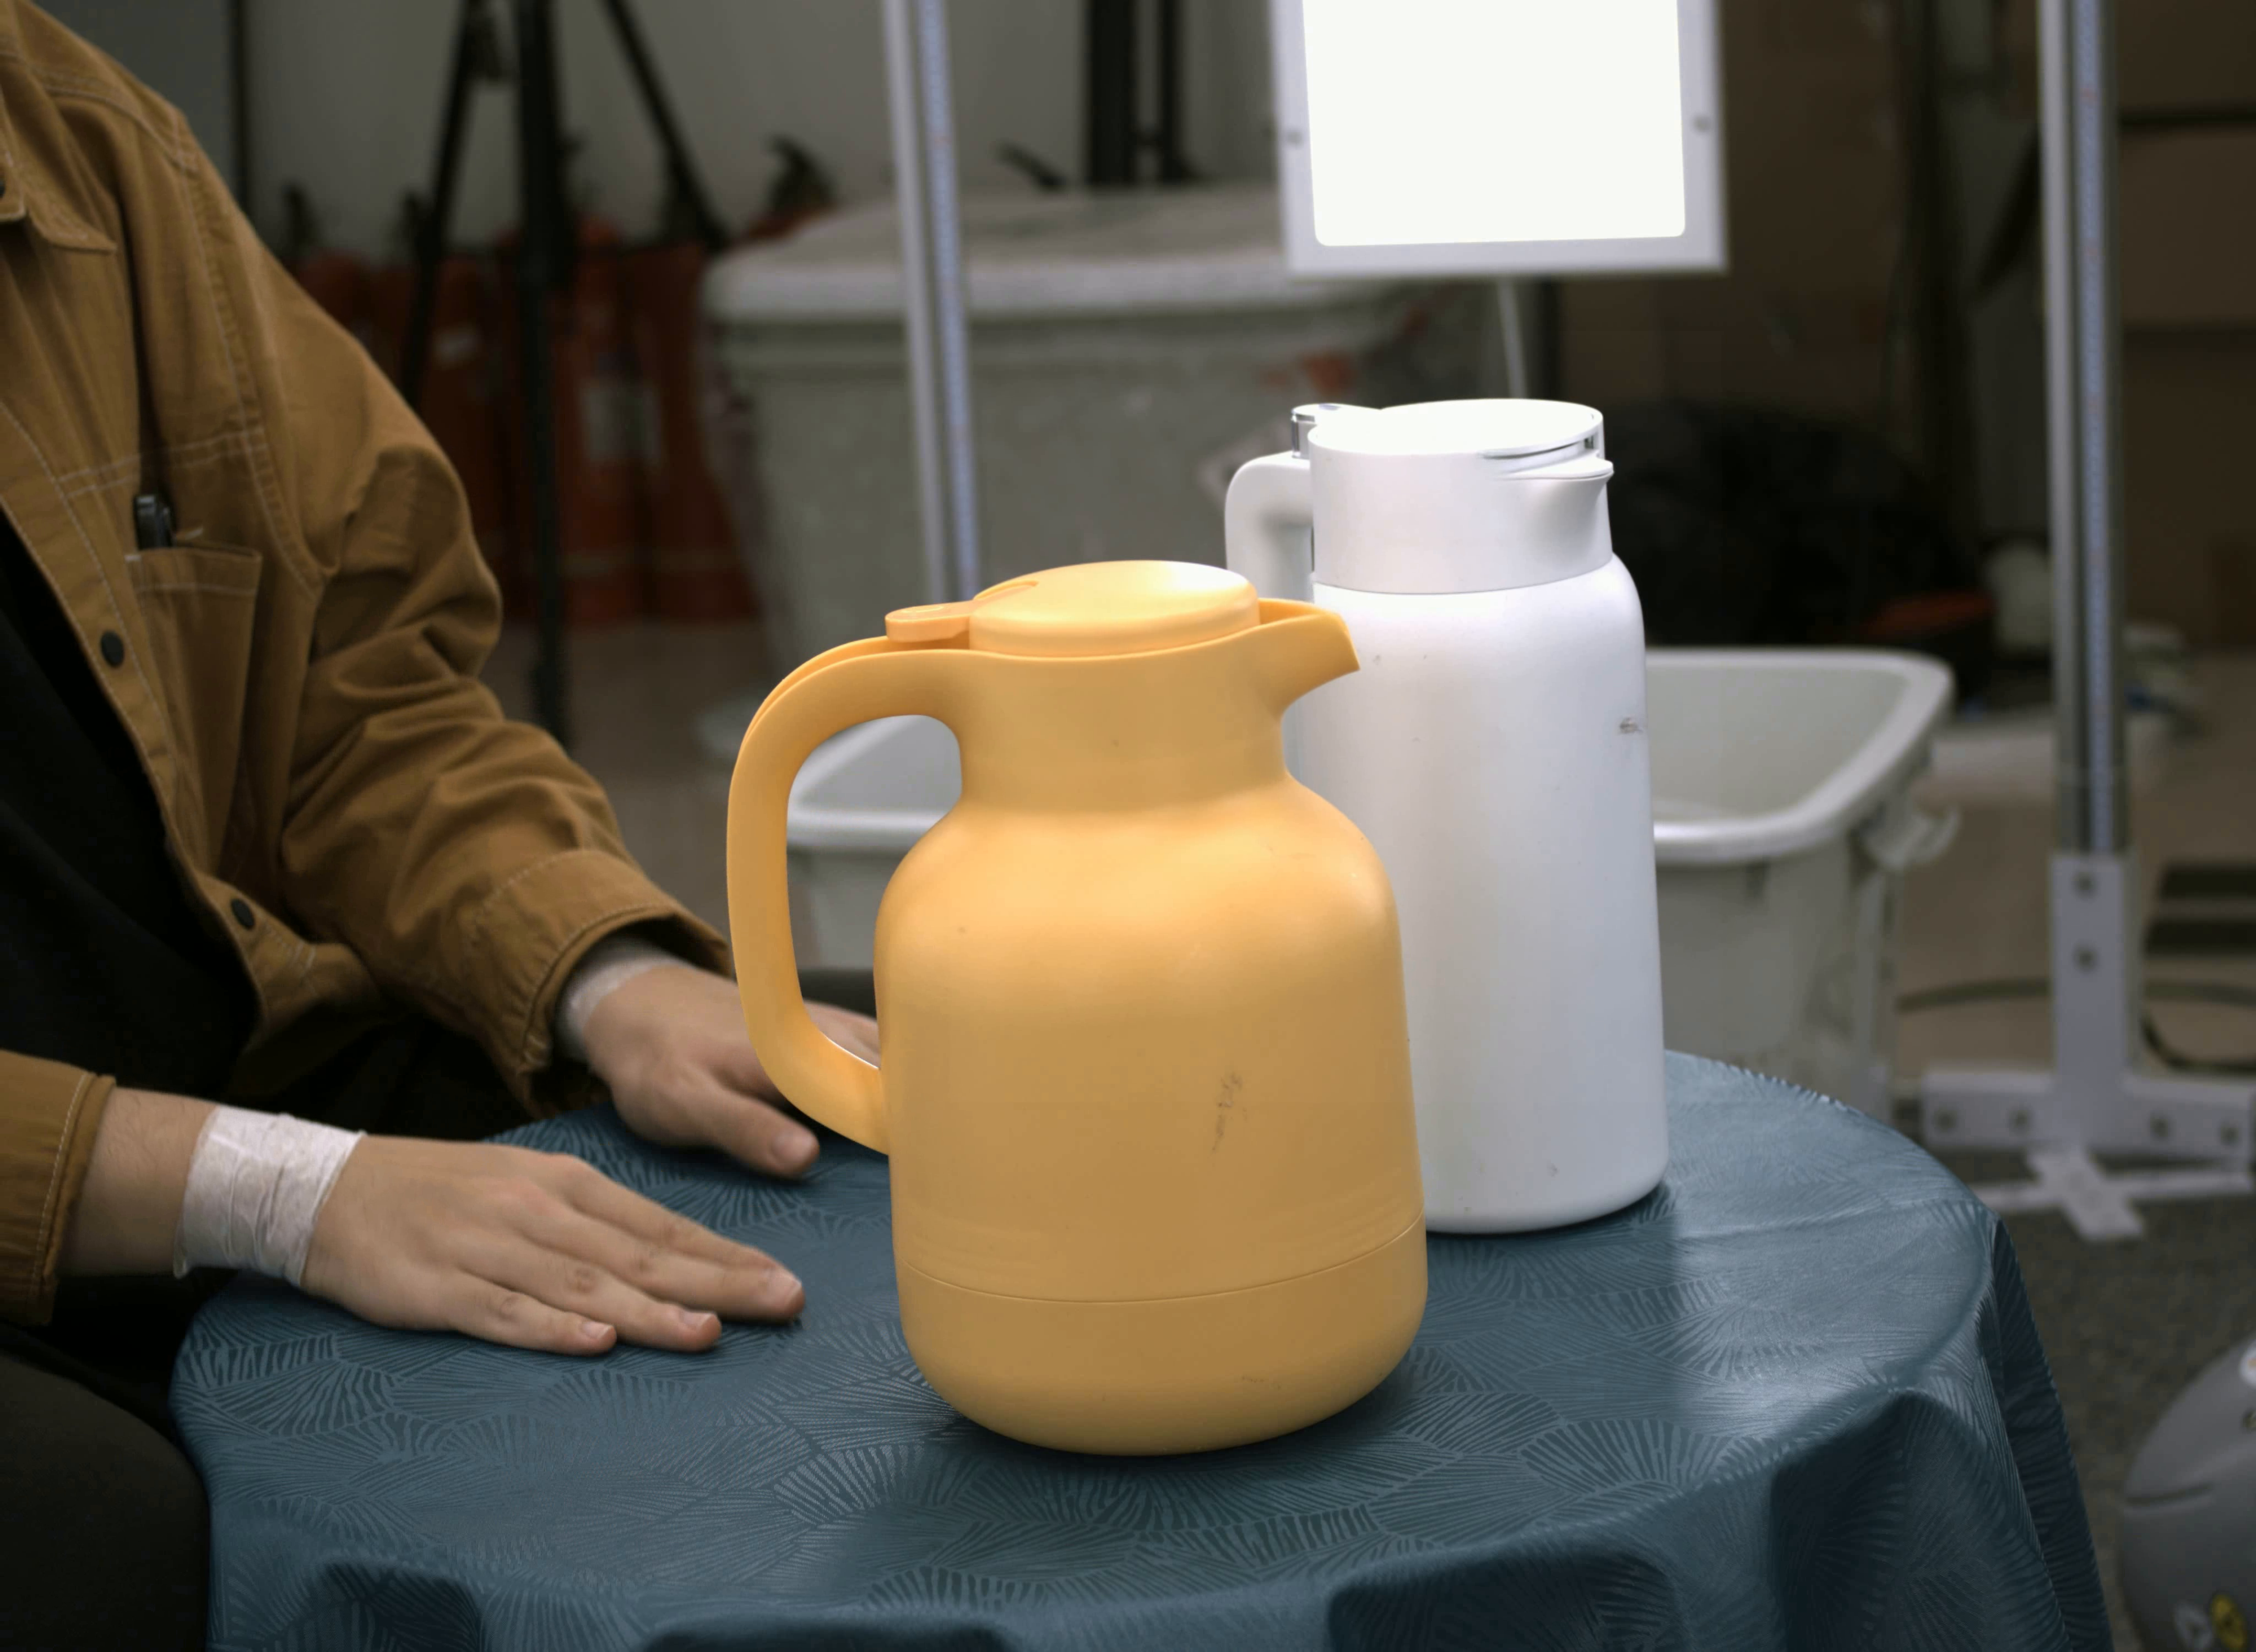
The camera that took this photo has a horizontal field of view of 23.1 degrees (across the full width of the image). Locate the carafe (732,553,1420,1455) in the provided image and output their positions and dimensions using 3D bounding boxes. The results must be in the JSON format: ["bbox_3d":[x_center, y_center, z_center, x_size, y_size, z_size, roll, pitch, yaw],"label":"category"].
[{"bbox_3d":[-0.016,0.050,1.666,0.202,0.261,0.162,-3,12,4],"label":"carafe"}]

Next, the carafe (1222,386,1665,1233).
[{"bbox_3d":[0.103,-0.008,1.846,0.121,0.270,0.176,-18,19,-38],"label":"carafe"}]
